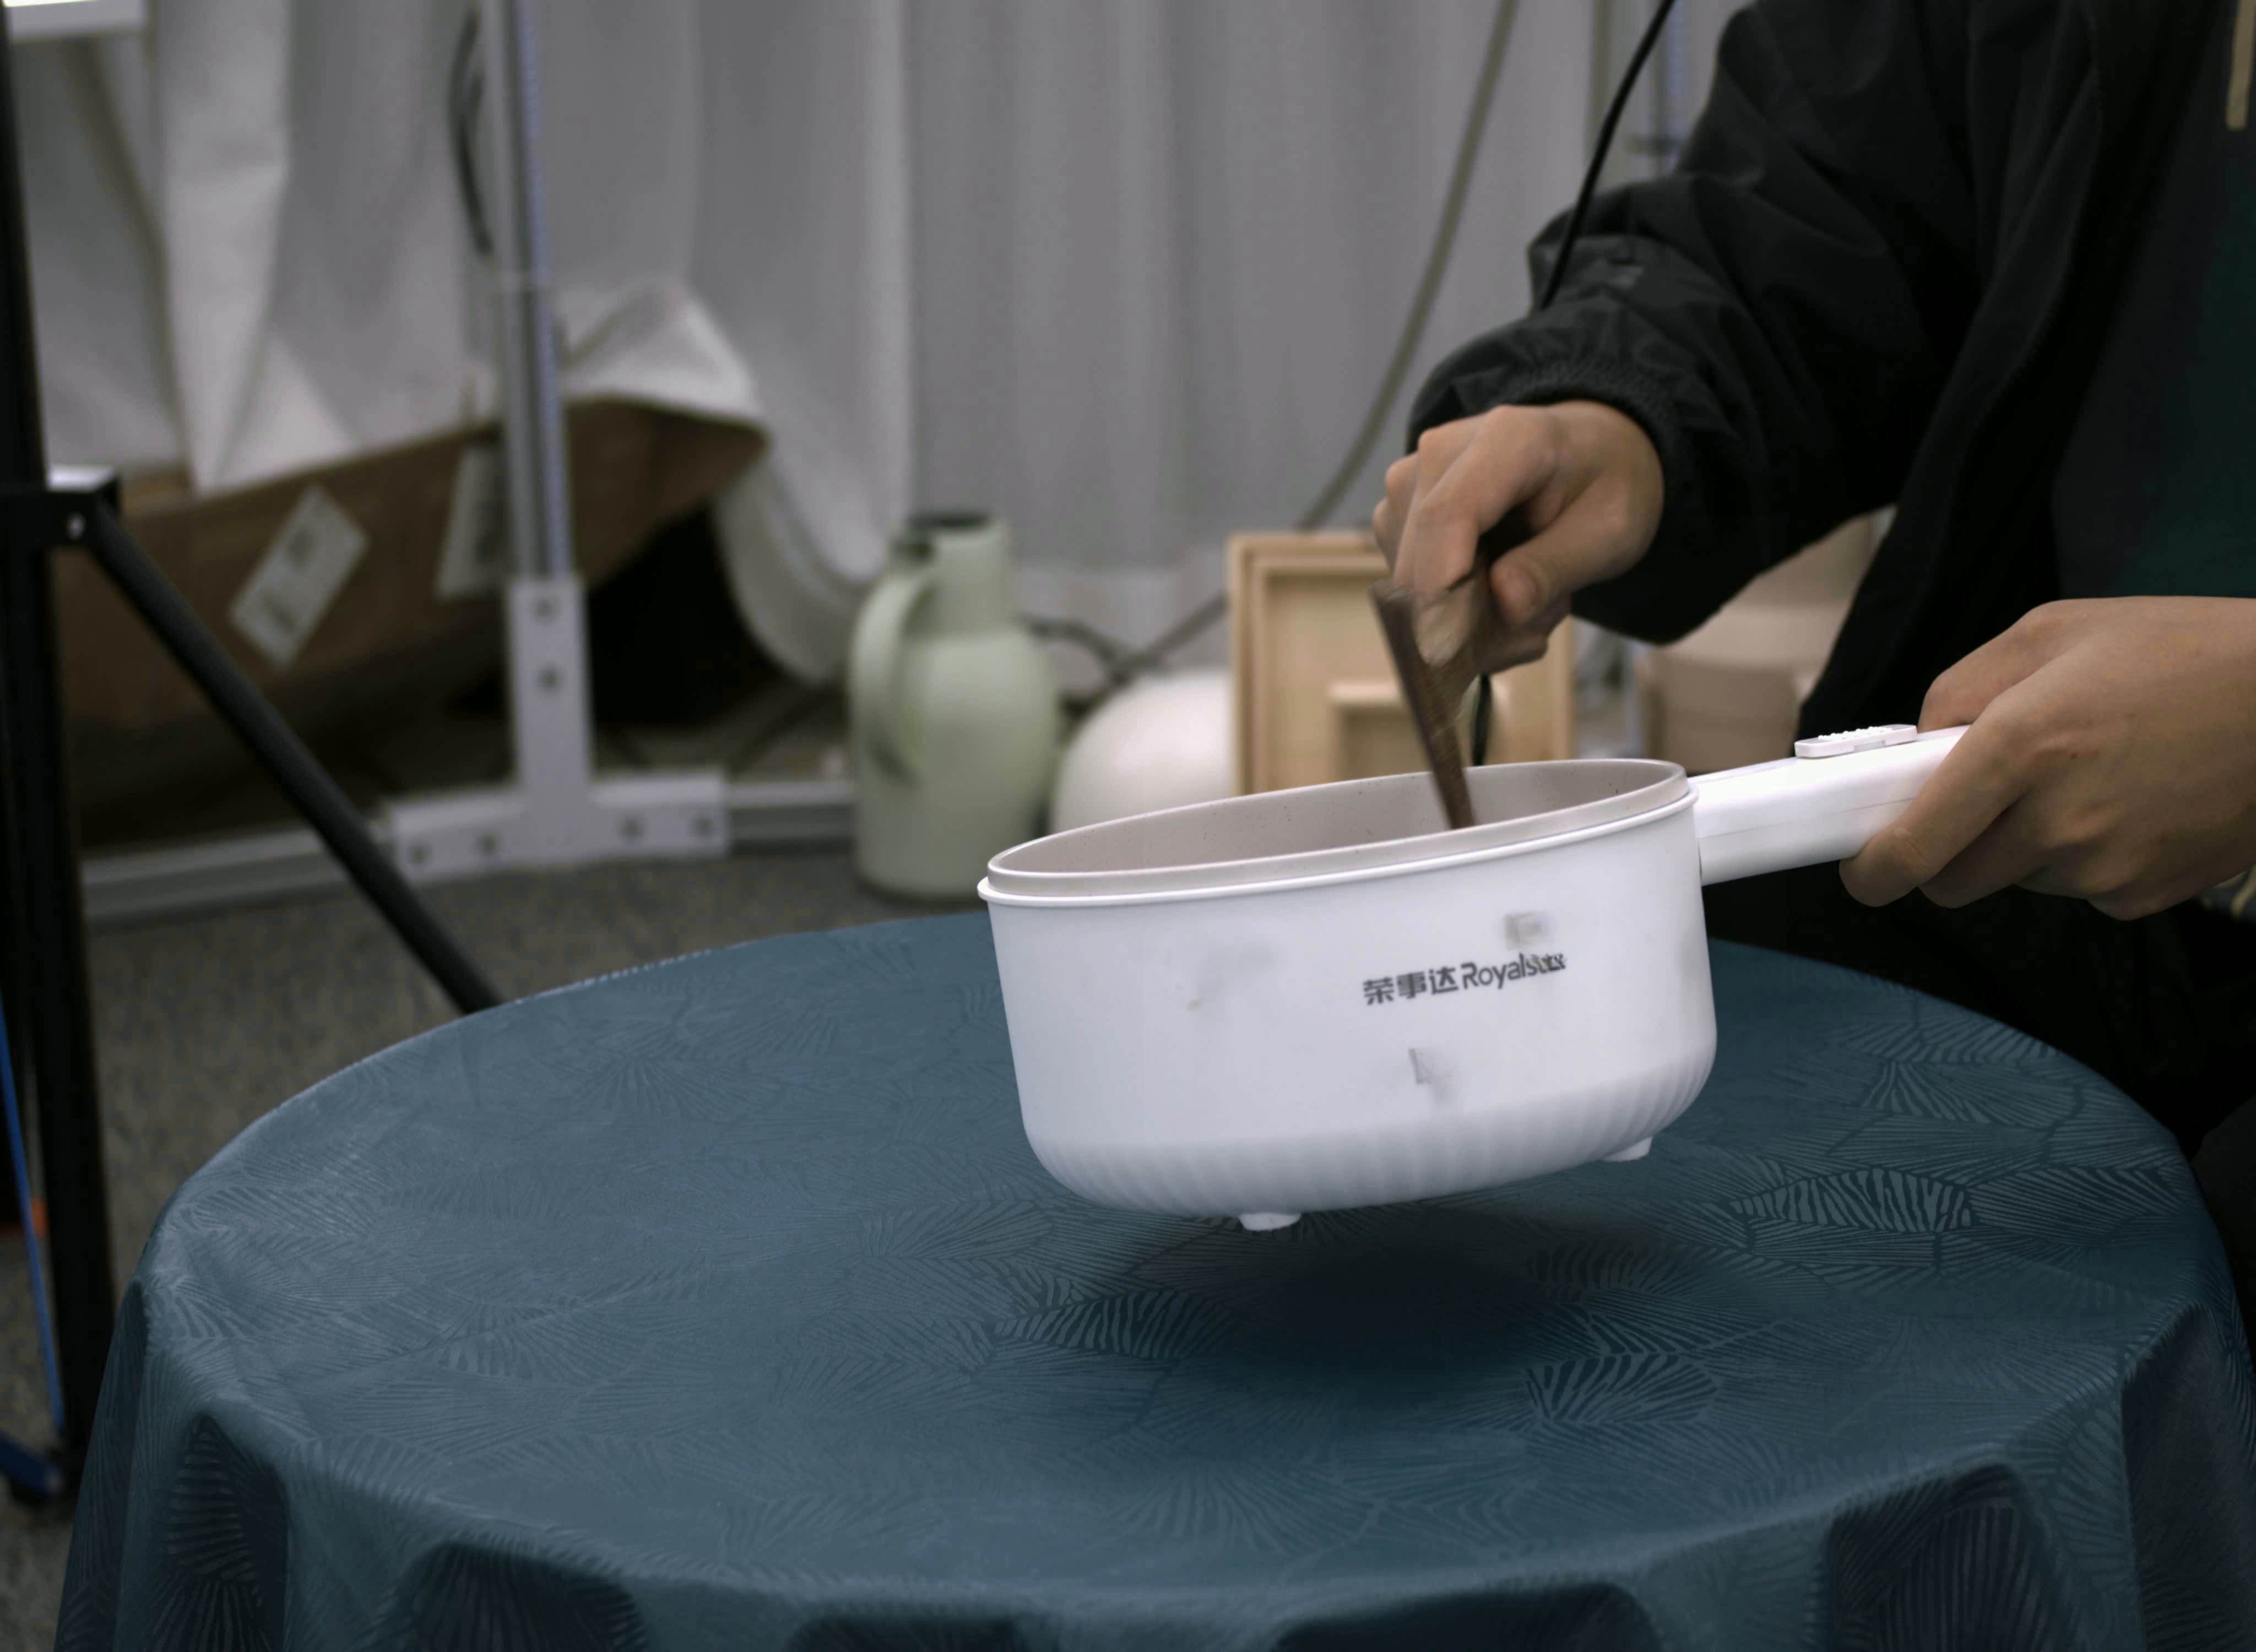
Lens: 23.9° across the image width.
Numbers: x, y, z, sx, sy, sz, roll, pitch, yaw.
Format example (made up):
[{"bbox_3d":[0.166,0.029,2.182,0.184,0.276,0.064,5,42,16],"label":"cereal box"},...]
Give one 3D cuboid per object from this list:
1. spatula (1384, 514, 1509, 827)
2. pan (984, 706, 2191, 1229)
[{"bbox_3d":[0.102,-0.056,1.612,0.016,0.096,0.385,-17,9,9],"label":"spatula"},{"bbox_3d":[0.136,0.037,1.486,0.349,0.102,0.204,-8,4,-16],"label":"pan"}]
